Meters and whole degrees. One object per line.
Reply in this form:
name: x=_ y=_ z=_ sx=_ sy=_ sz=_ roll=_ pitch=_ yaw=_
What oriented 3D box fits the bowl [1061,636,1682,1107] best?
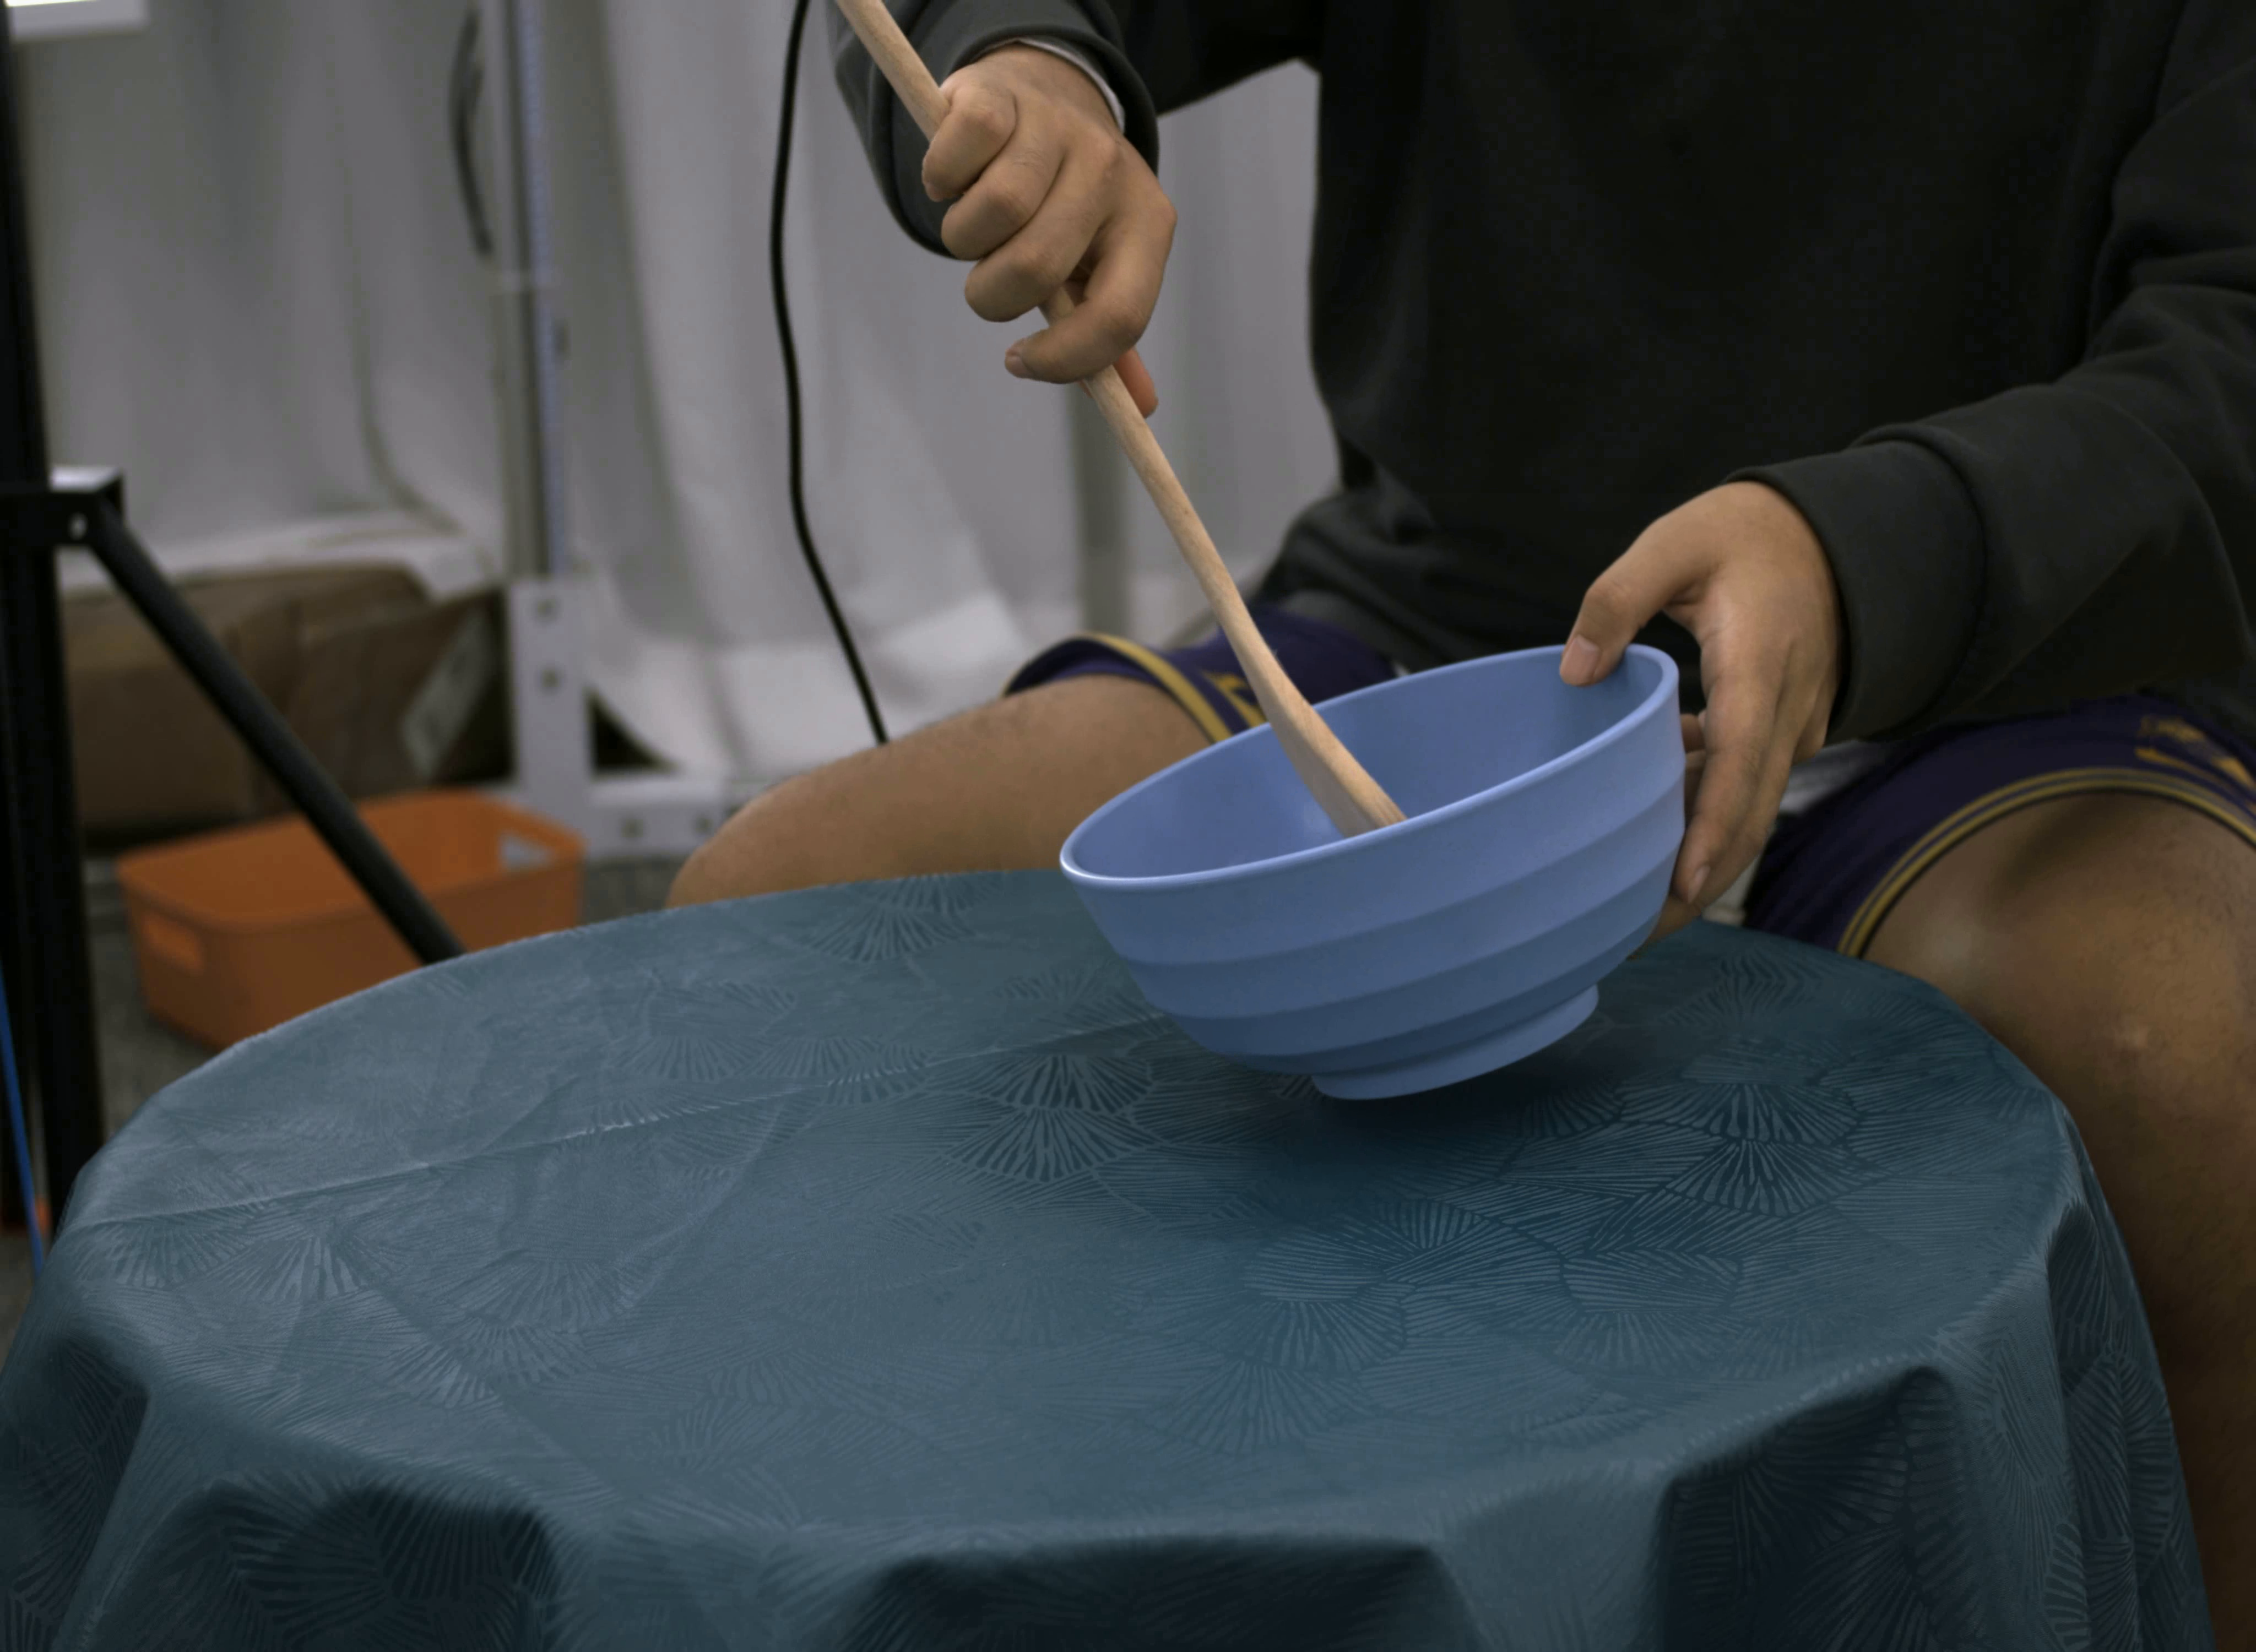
bowl: x=0.087 y=0.024 z=1.621 sx=0.196 sy=0.095 sz=0.197 roll=-21 pitch=12 yaw=3

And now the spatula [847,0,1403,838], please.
spatula: x=0.001 y=-0.123 z=1.610 sx=0.018 sy=0.391 sz=0.096 roll=-31 pitch=2 yaw=-8
